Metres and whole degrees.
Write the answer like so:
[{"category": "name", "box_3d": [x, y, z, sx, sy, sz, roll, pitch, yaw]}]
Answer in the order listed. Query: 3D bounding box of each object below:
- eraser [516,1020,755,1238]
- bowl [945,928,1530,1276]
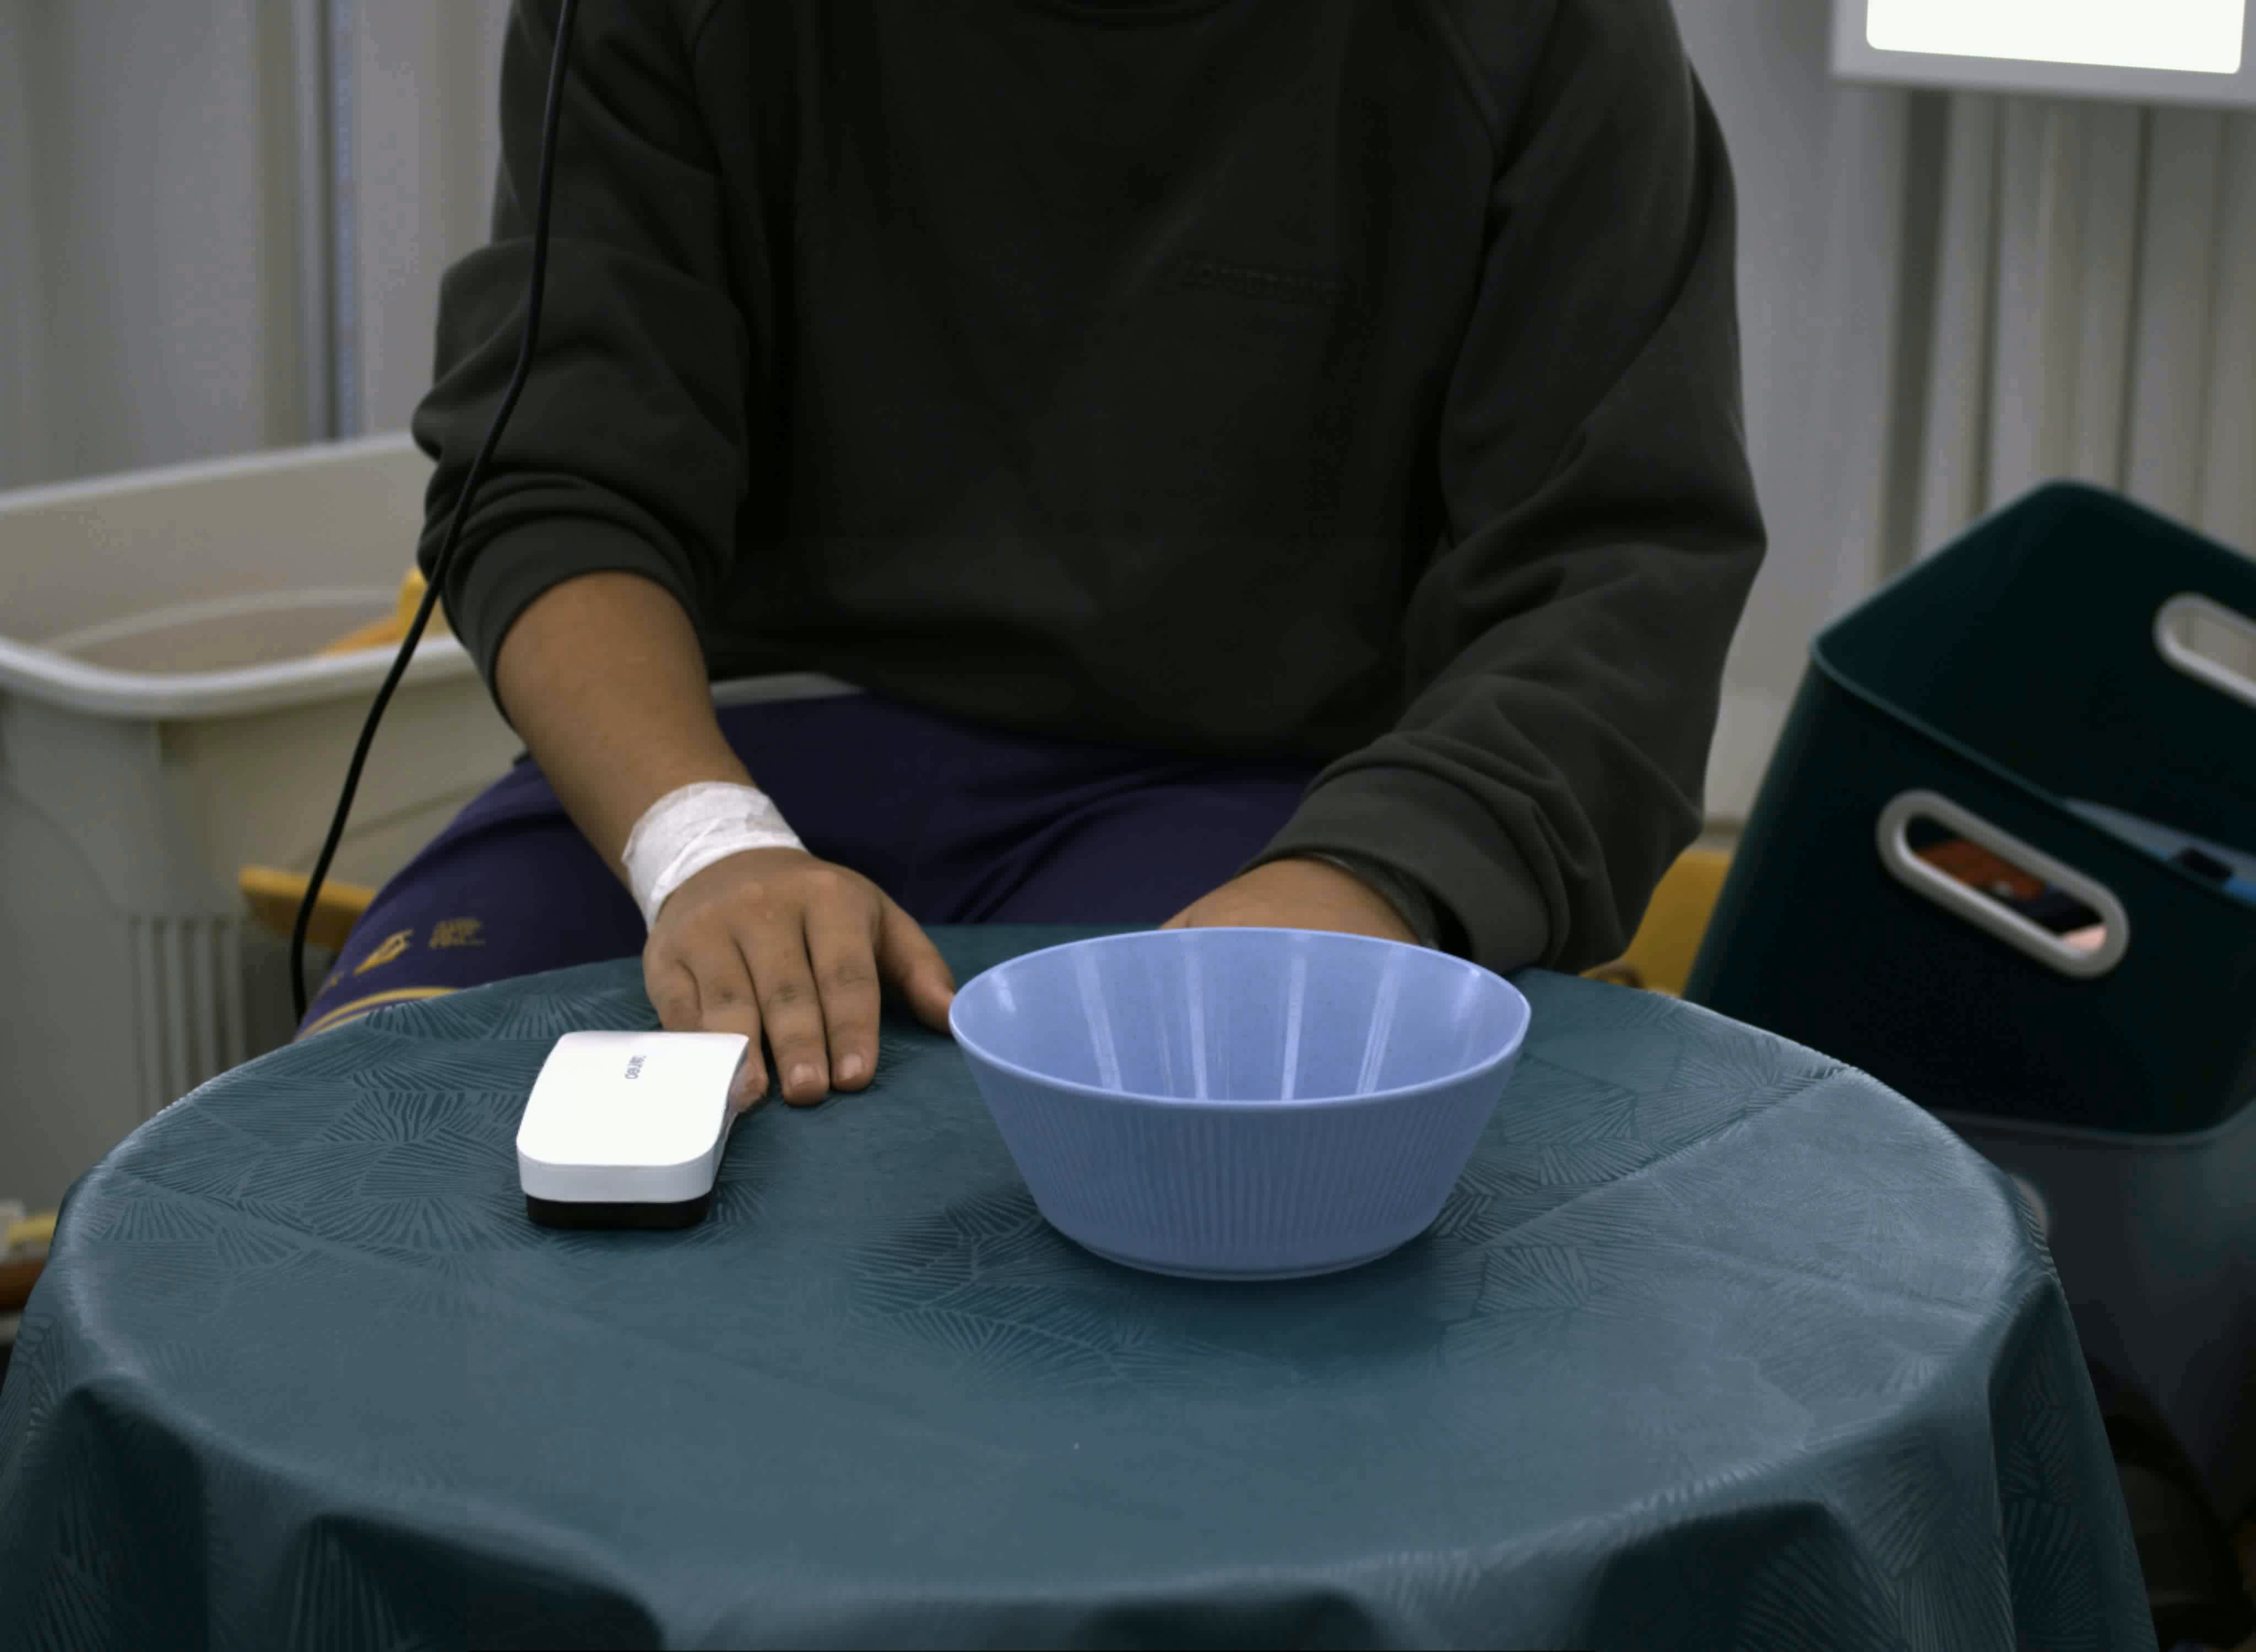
[{"category": "eraser", "box_3d": [-0.151, 0.090, 1.638, 0.063, 0.035, 0.130, 3, 18, 3]}, {"category": "bowl", "box_3d": [0.032, 0.085, 1.587, 0.175, 0.071, 0.175, 1, 16, 0]}]
